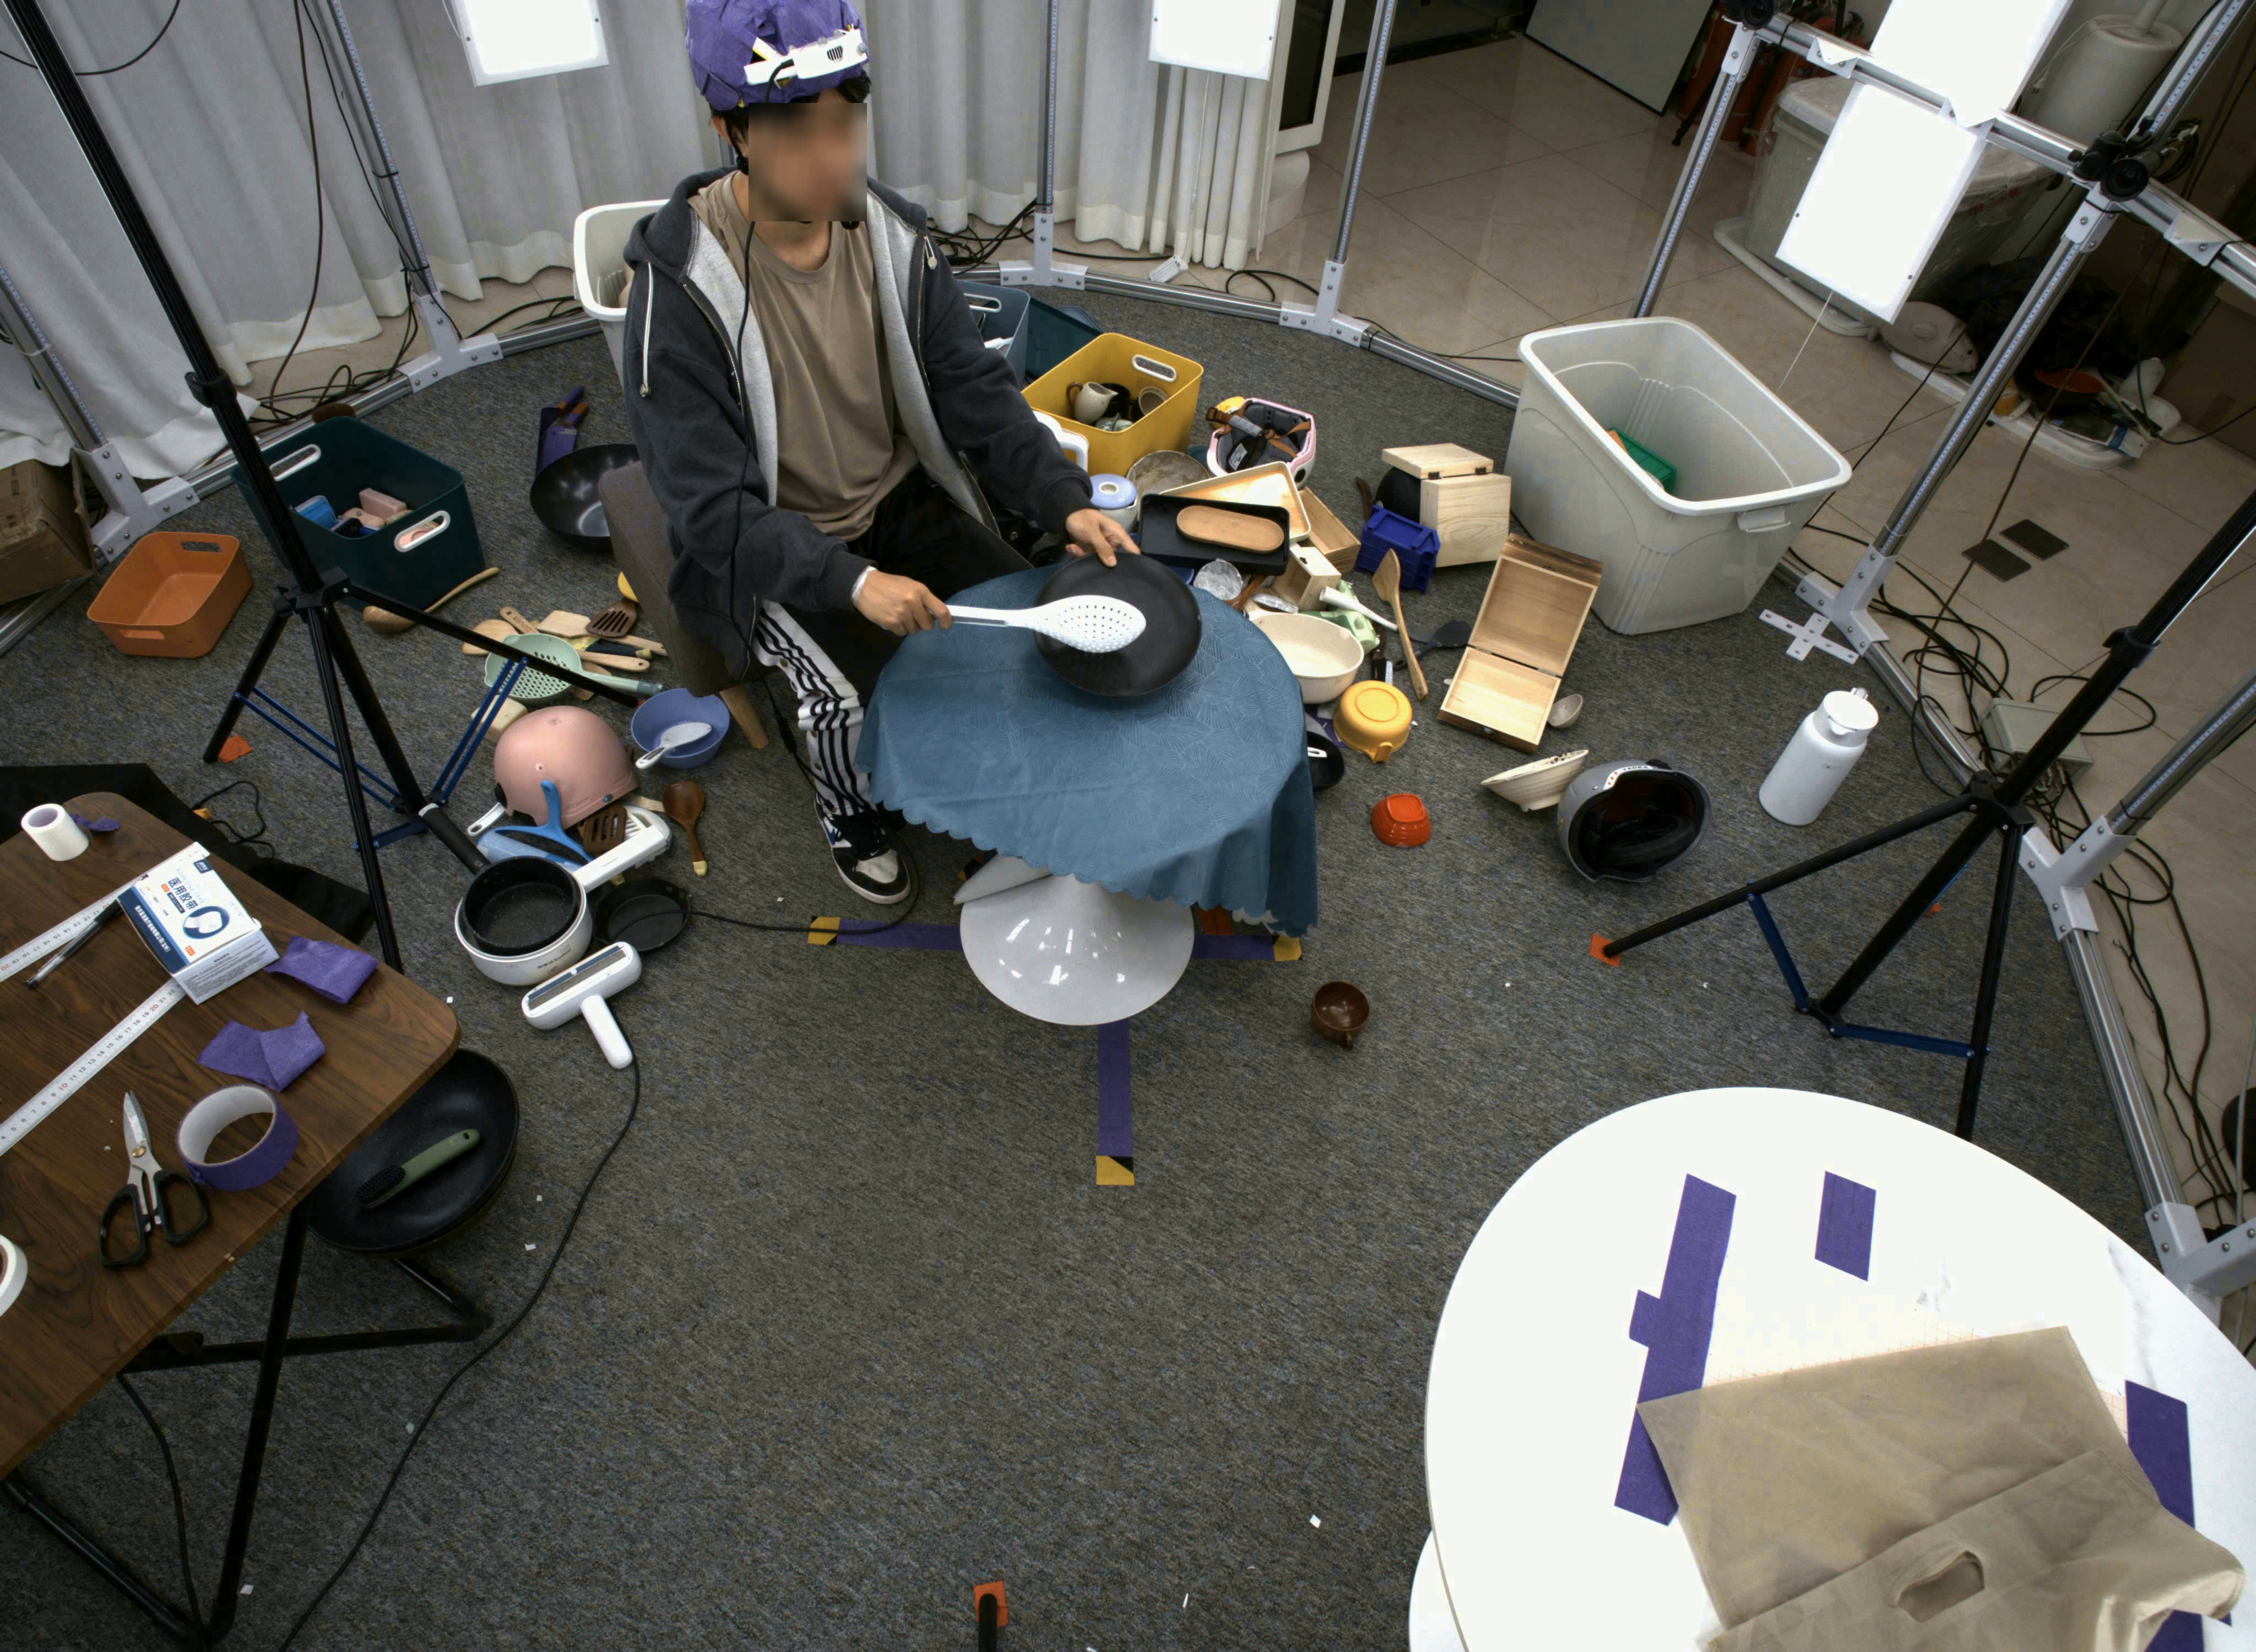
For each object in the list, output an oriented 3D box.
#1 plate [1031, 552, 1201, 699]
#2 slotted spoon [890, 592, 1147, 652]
[{"bbox_3d":[-0.017,-0.286,1.843,0.244,0.023,0.249,1,65,-3],"label":"plate"},{"bbox_3d":[-0.150,-0.285,1.764,0.350,0.133,0.046,9,68,3],"label":"slotted spoon"}]
